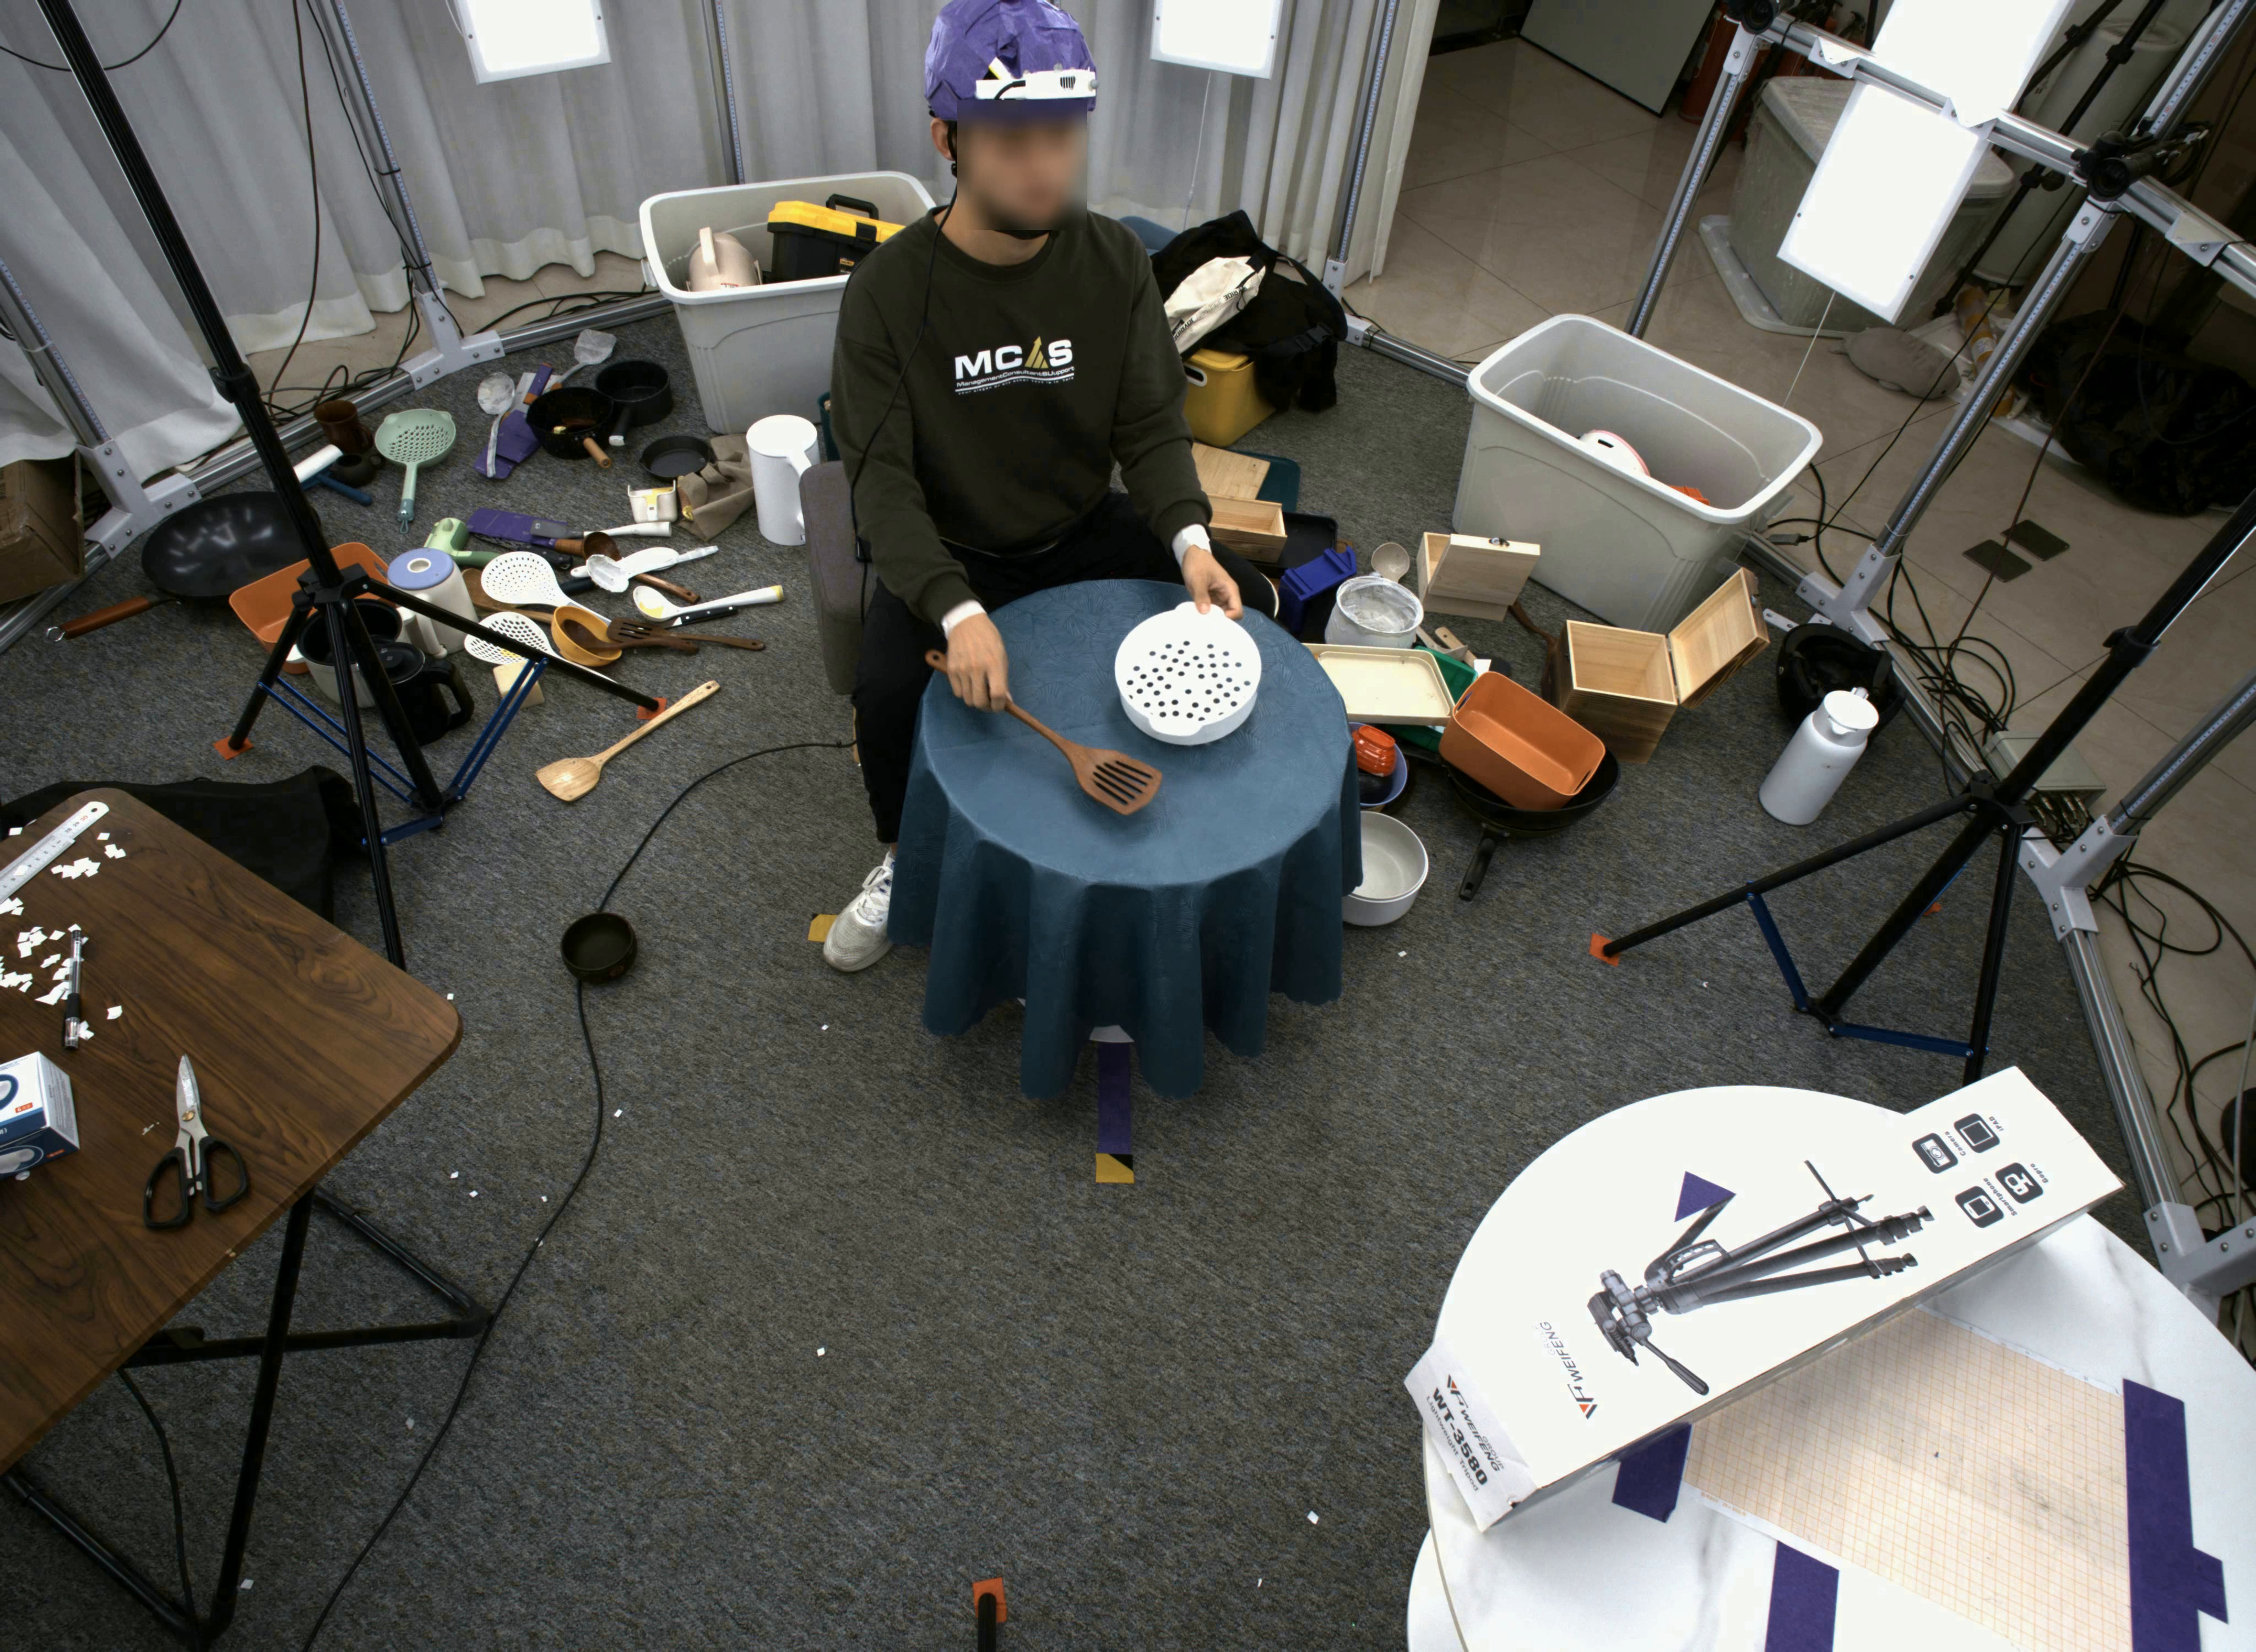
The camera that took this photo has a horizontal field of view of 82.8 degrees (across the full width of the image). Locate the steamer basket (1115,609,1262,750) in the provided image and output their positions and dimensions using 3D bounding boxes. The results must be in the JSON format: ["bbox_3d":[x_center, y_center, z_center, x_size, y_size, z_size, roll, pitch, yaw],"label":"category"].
[{"bbox_3d":[0.083,-0.200,1.792,0.202,0.067,0.235,10,56,8],"label":"steamer basket"}]

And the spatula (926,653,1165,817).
[{"bbox_3d":[-0.123,-0.131,1.720,0.389,0.023,0.087,34,62,18],"label":"spatula"}]
